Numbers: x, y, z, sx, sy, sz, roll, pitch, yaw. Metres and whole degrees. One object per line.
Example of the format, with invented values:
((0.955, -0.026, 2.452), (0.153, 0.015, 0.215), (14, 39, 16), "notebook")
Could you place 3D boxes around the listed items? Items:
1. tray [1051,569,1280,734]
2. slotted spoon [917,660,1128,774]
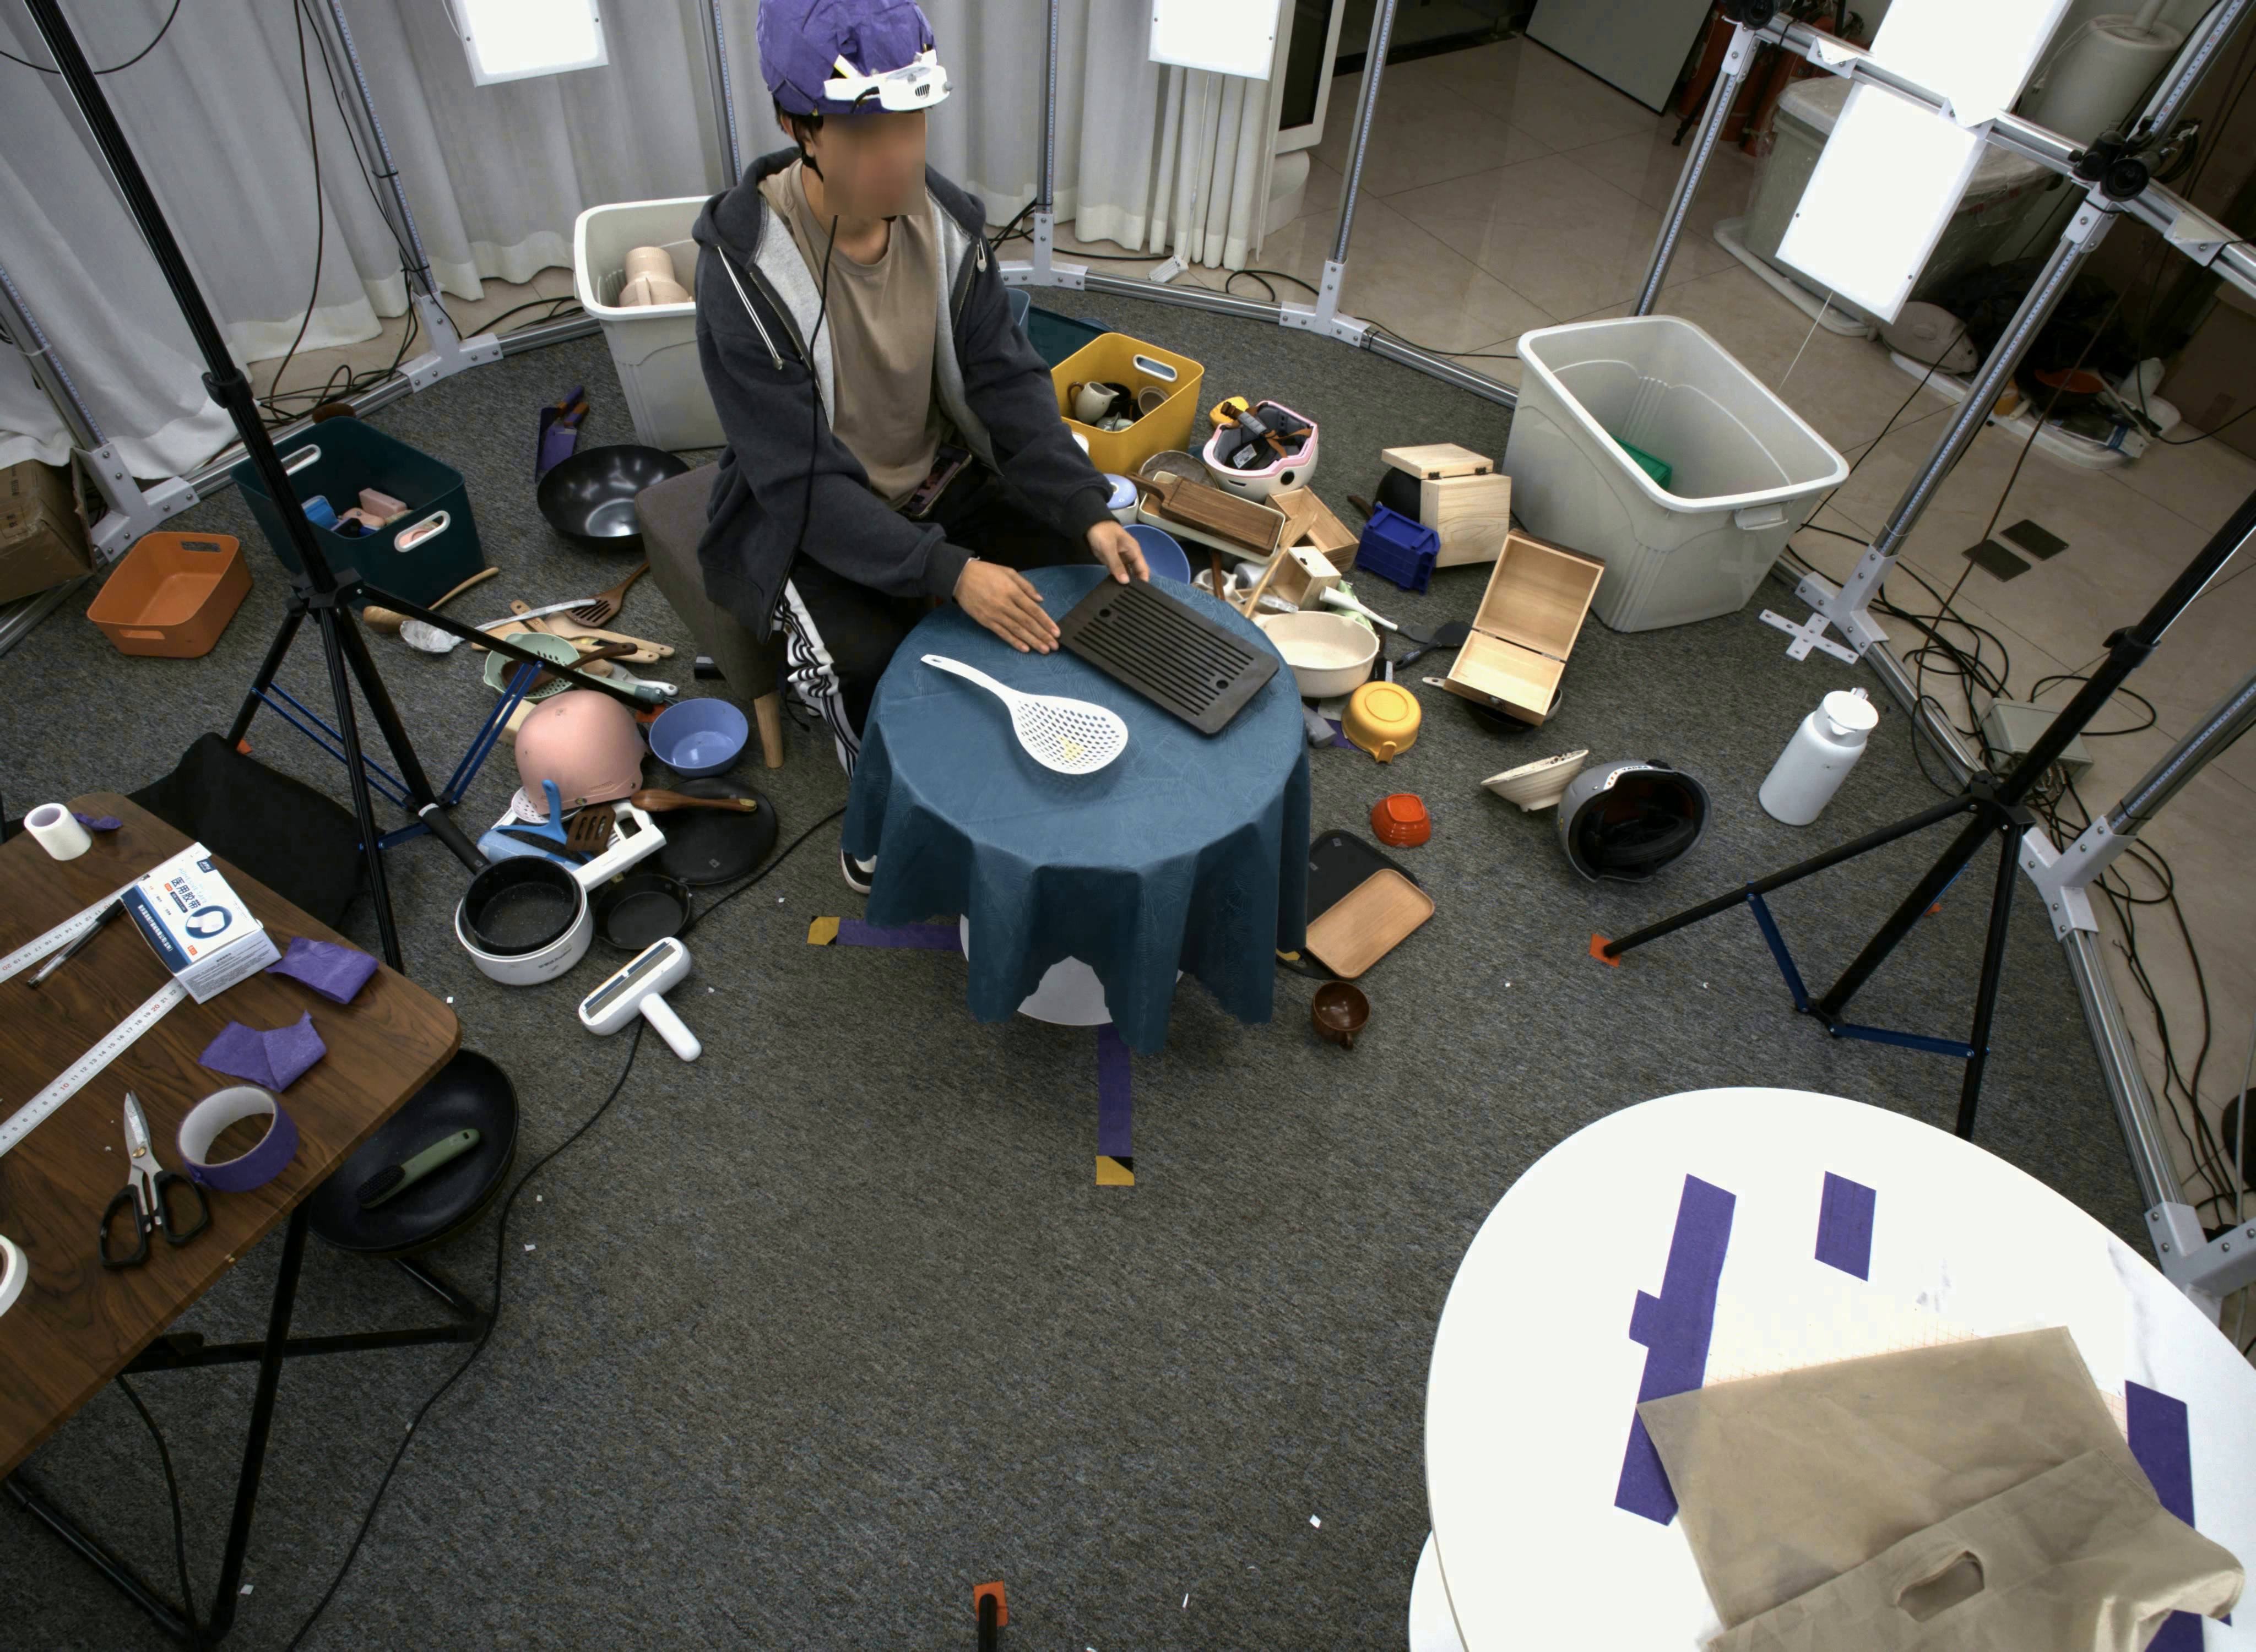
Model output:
((0.053, -0.256, 1.865), (0.309, 0.018, 0.172), (34, 62, 22), "tray")
((-0.156, -0.166, 1.773), (0.352, 0.049, 0.138), (33, 56, 22), "slotted spoon")
